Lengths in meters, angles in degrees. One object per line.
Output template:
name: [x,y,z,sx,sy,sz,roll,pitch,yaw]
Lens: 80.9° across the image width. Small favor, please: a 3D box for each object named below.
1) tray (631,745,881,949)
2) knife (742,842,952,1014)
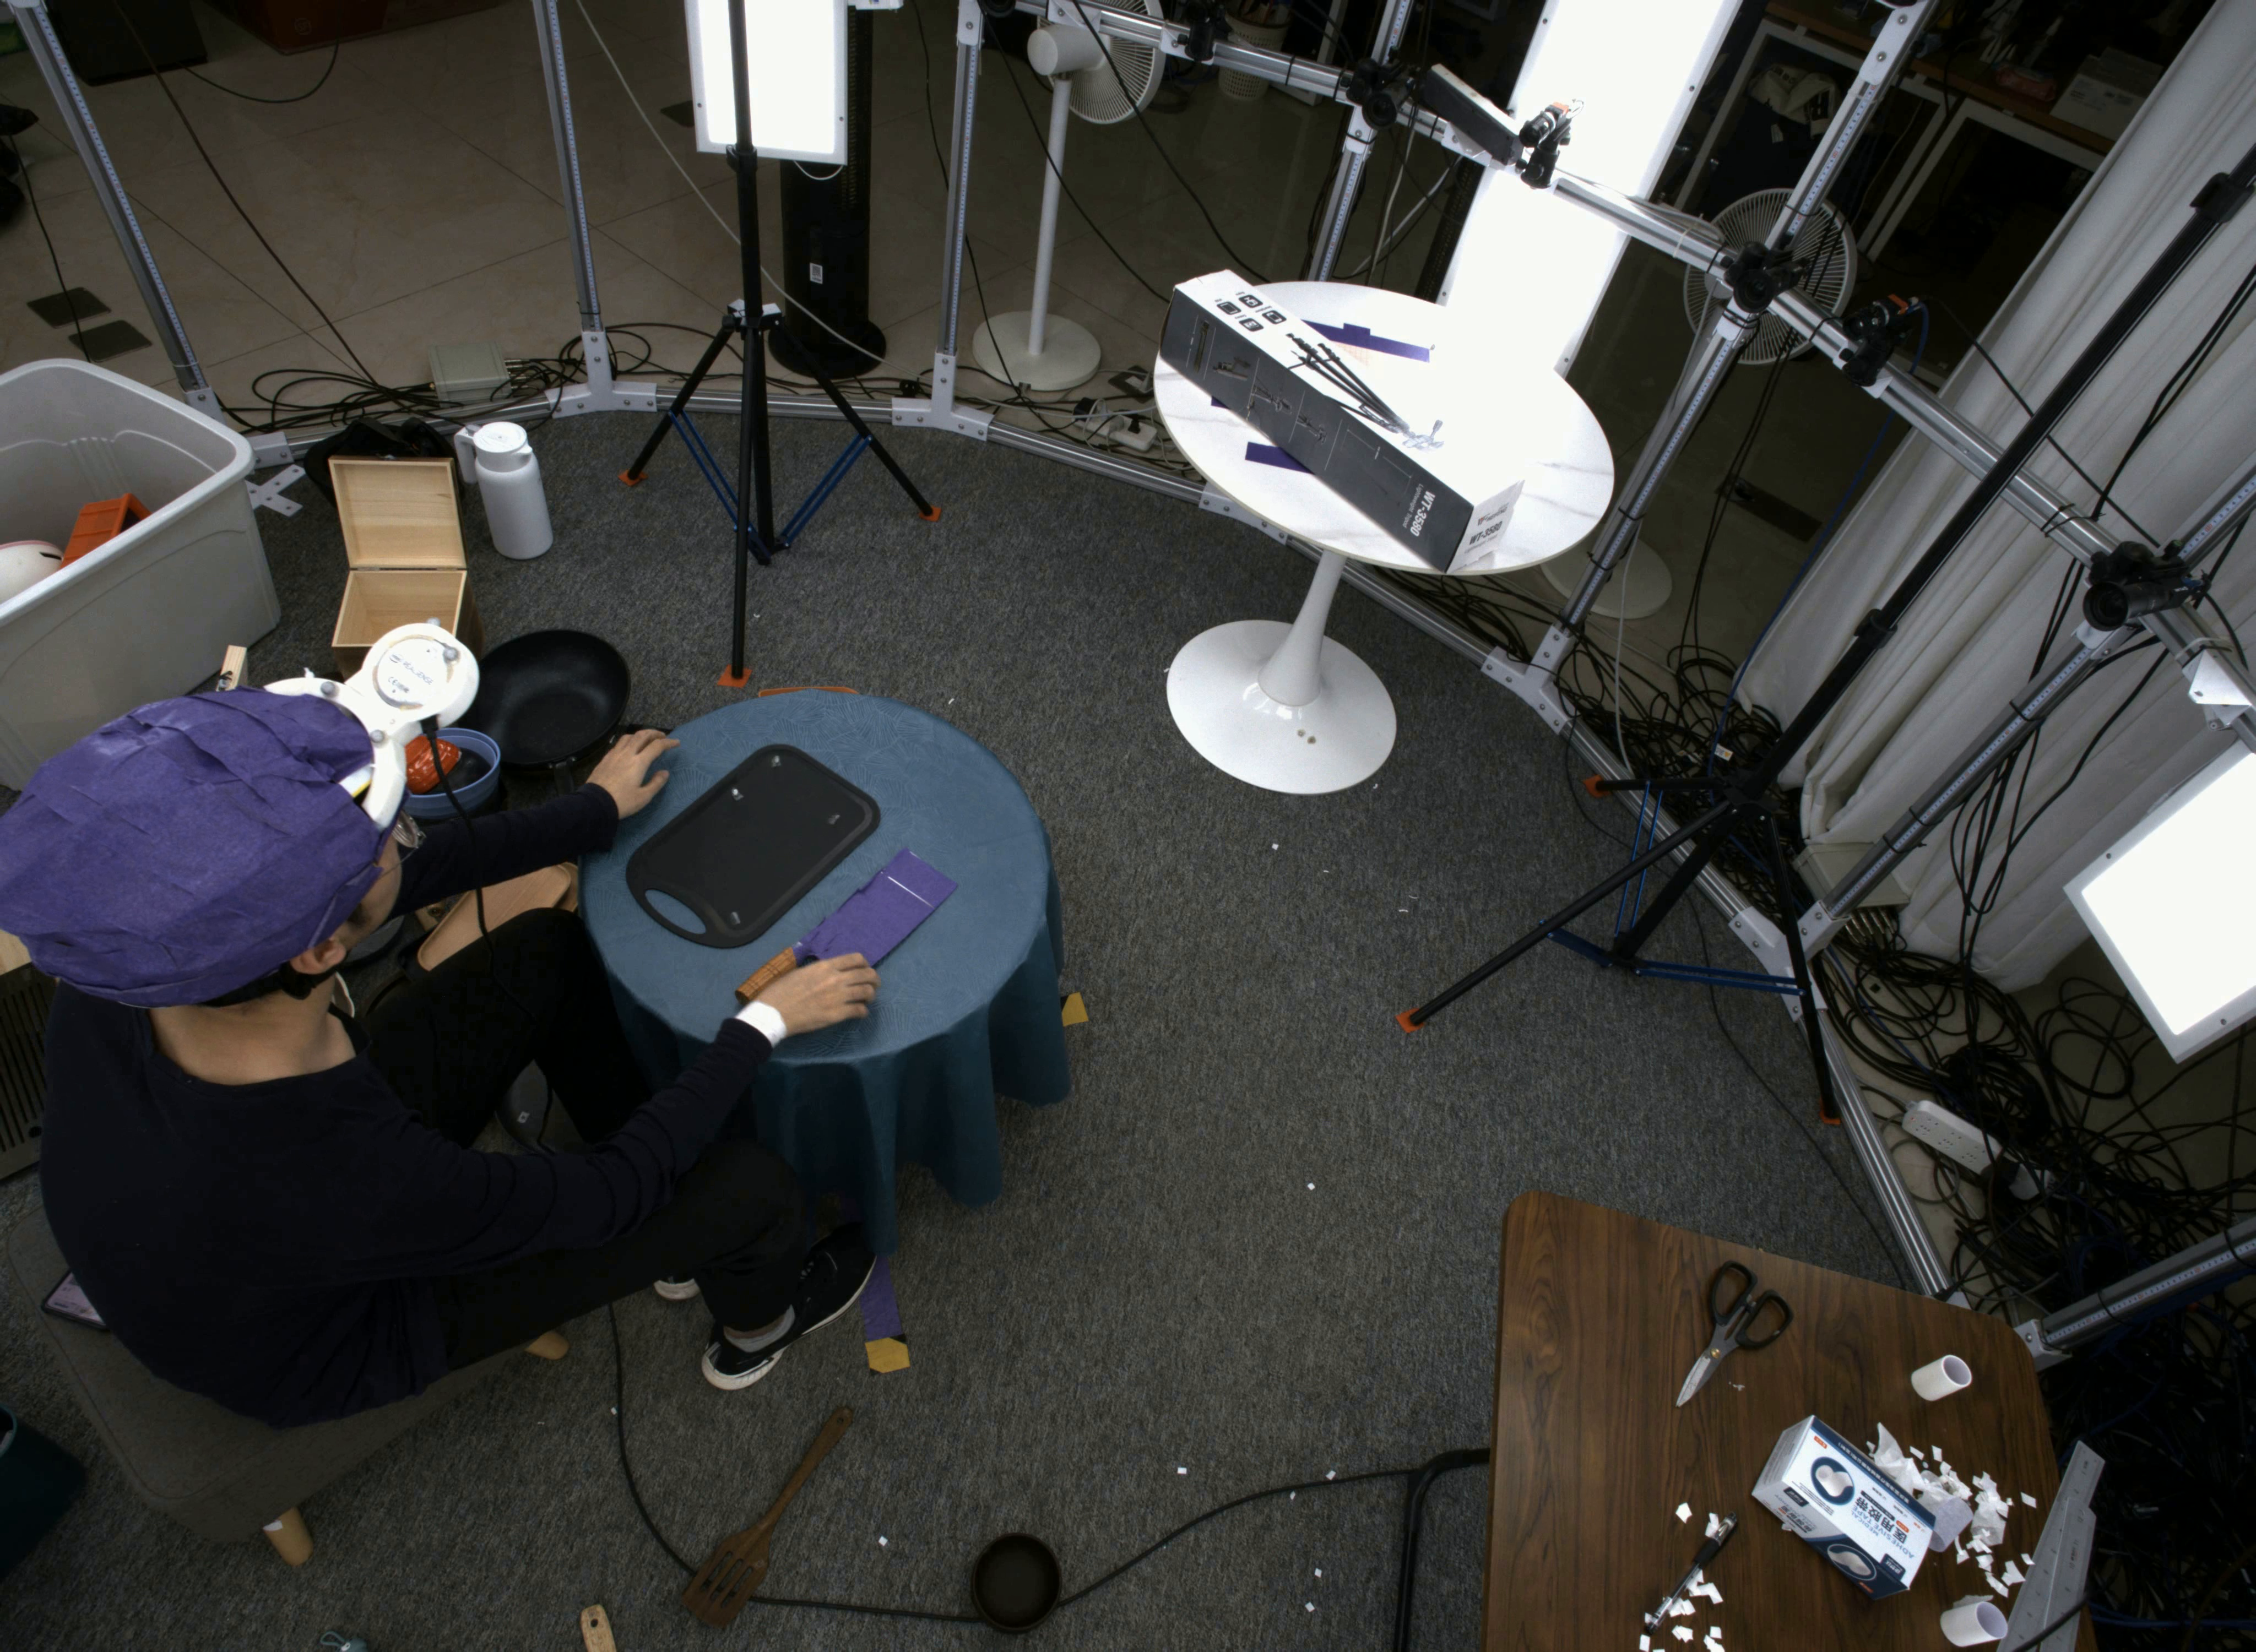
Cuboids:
tray: [-0.490,0.023,1.697,0.207,0.010,0.325,33,53,11]
knife: [-0.345,0.135,1.638,0.102,0.033,0.315,34,53,12]
